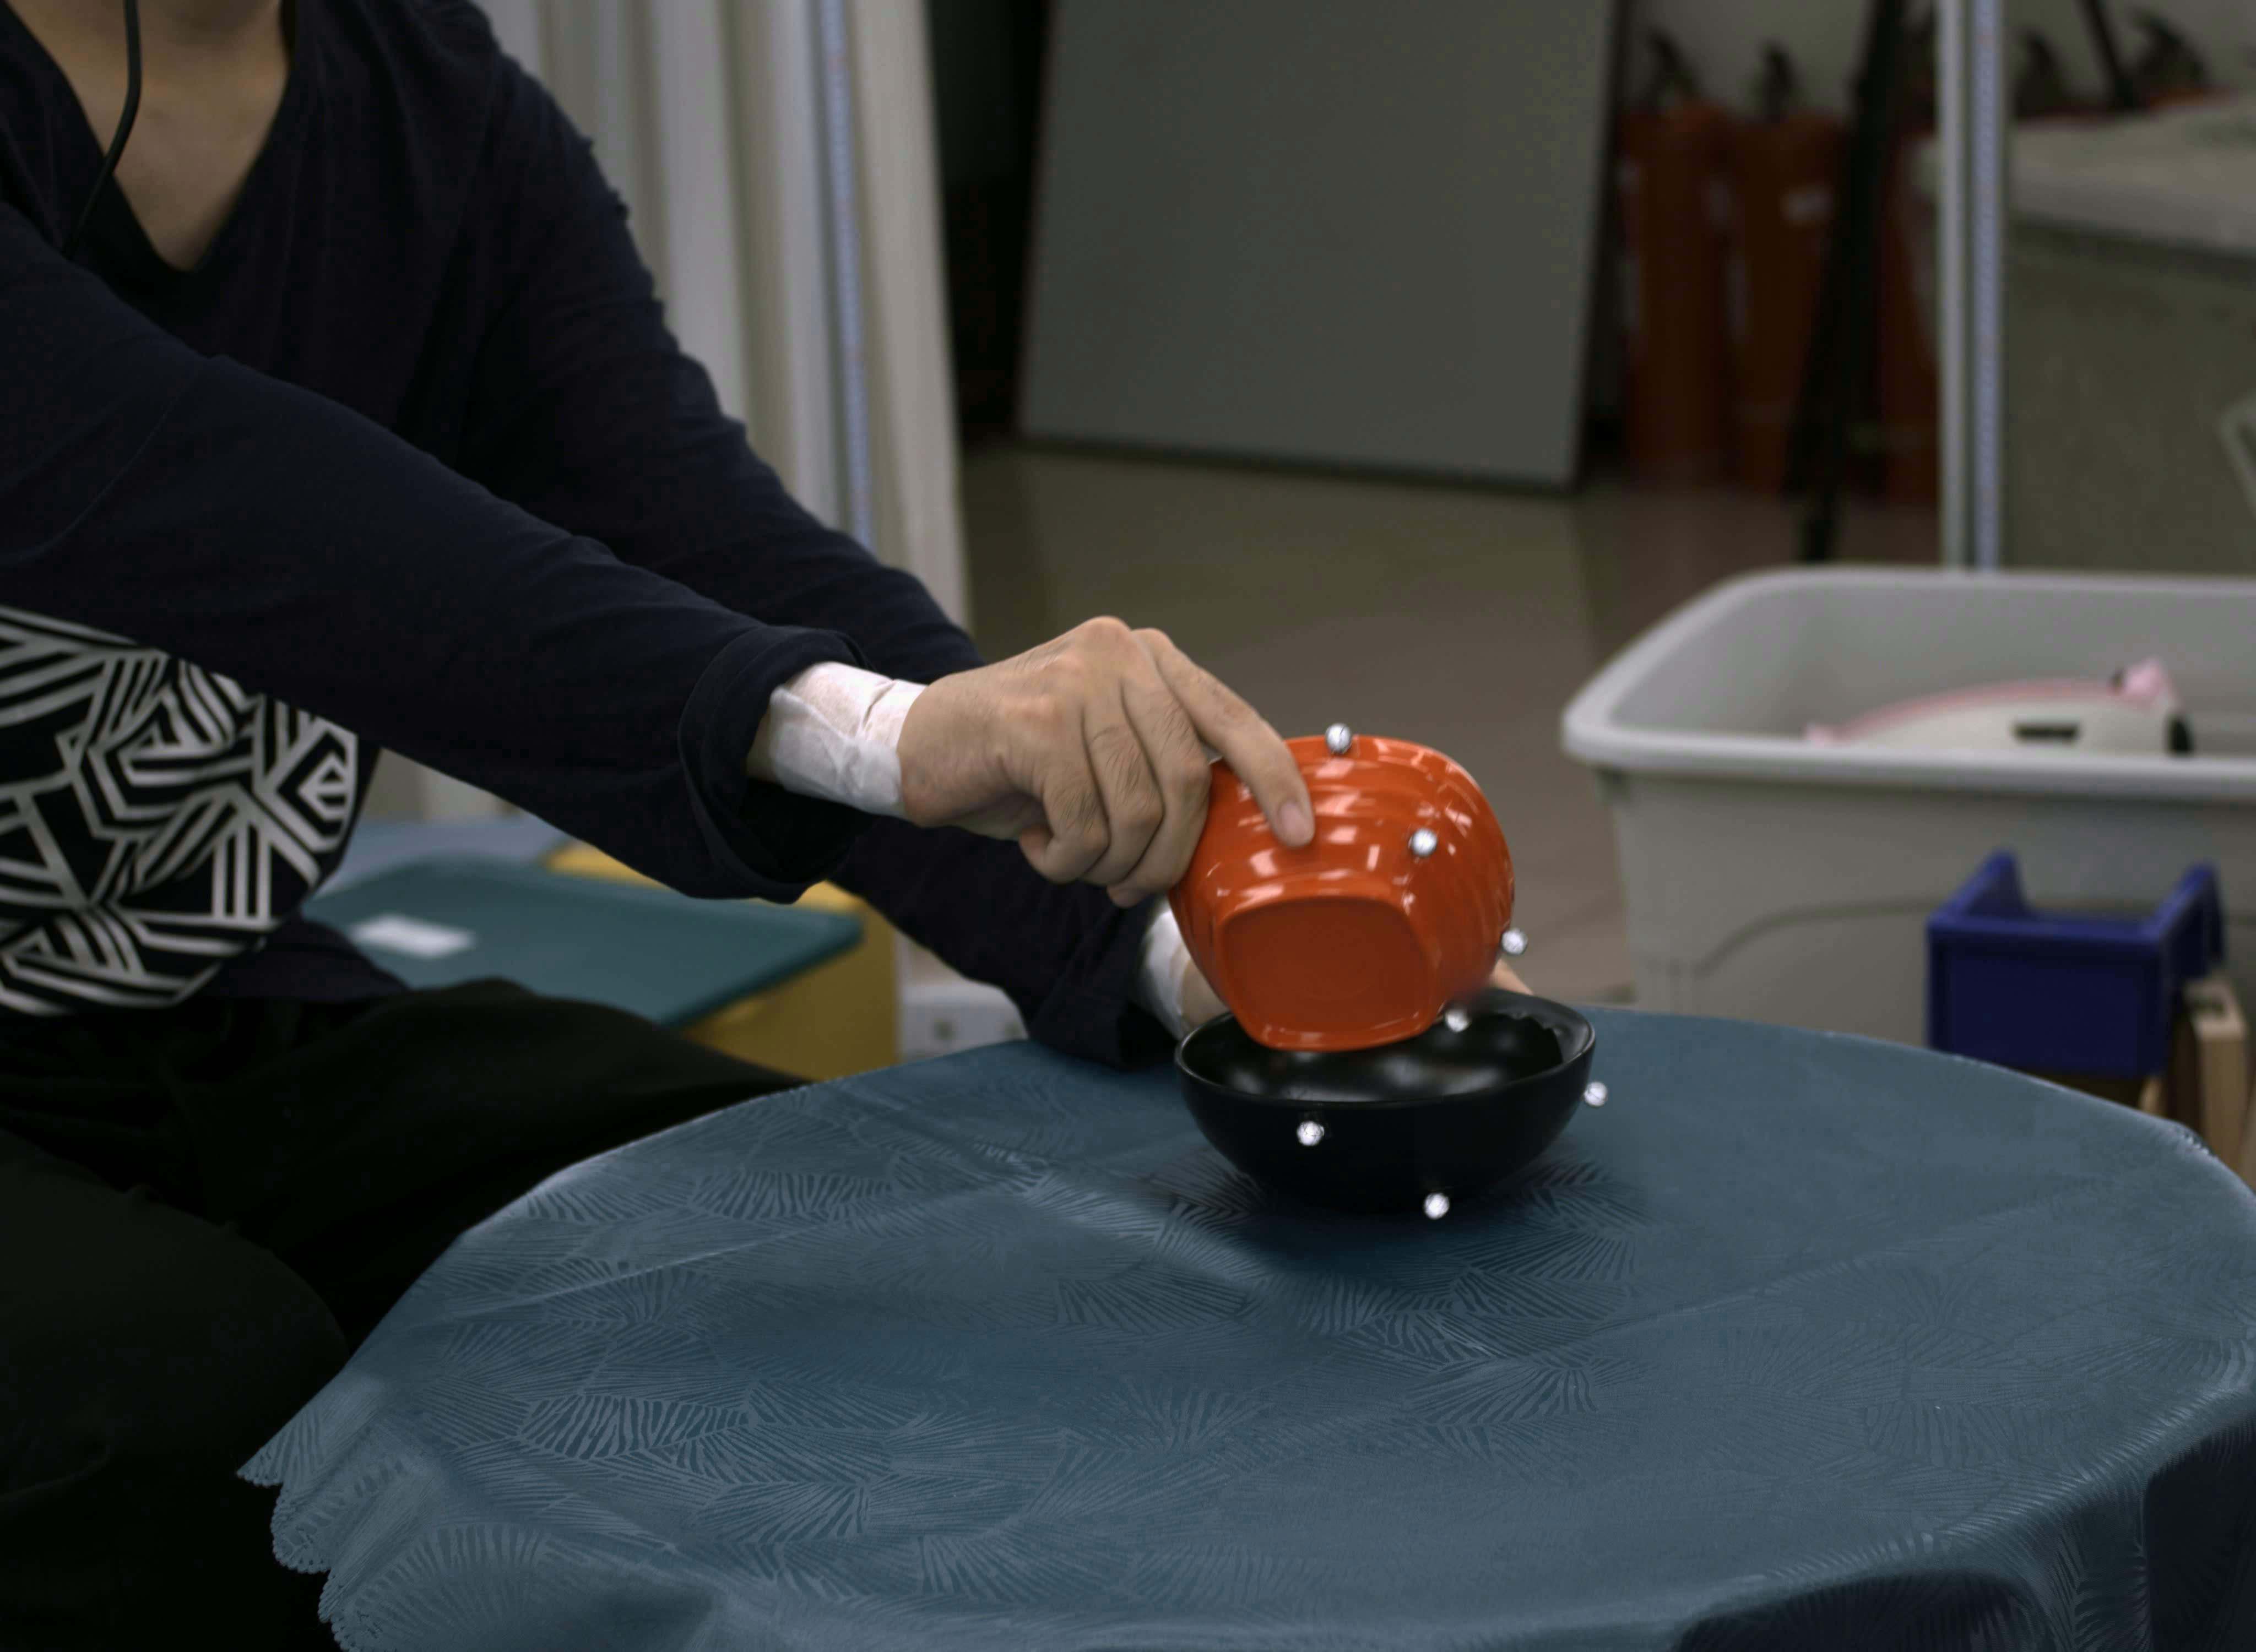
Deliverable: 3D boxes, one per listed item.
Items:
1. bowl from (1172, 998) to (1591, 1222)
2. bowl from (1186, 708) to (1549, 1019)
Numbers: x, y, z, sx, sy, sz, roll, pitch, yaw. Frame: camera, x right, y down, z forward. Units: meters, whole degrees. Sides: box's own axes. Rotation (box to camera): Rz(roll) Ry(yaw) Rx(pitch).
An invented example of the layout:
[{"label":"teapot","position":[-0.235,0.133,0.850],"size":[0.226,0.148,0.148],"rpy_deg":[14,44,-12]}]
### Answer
[{"label":"bowl","position":[0.085,0.096,1.759],"size":[0.138,0.050,0.140],"rpy_deg":[-7,10,0]},{"label":"bowl","position":[0.070,0.019,1.665],"size":[0.119,0.118,0.051],"rpy_deg":[2,52,20]}]
